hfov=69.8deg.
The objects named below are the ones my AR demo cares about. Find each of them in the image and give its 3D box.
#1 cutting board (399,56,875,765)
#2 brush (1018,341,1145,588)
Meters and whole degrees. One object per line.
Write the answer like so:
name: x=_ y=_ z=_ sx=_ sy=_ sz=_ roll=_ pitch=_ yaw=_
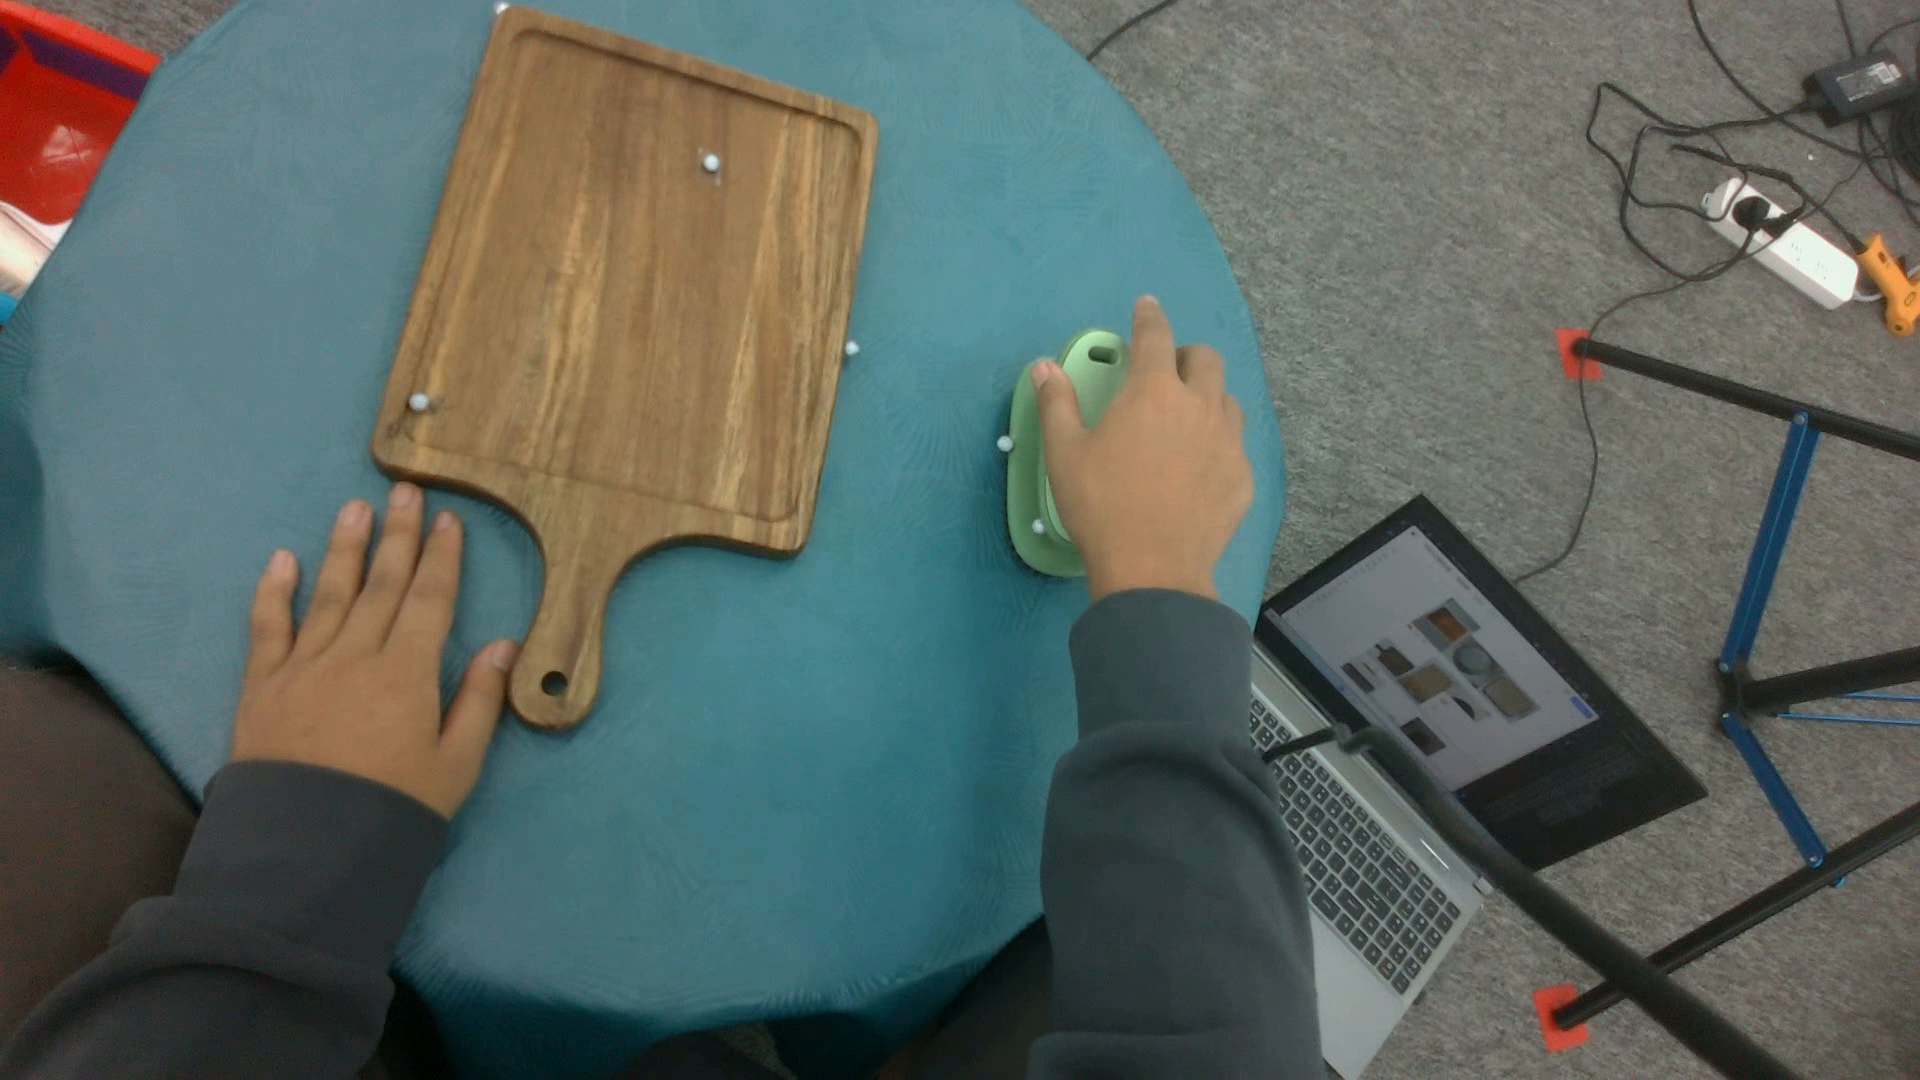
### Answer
cutting board: x=-0.156 y=-0.067 z=0.673 sx=0.201 sy=0.023 sz=0.353 roll=11 pitch=70 yaw=-13
brush: x=0.062 y=-0.037 z=0.711 sx=0.059 sy=0.075 sz=0.123 roll=4 pitch=86 yaw=-14
